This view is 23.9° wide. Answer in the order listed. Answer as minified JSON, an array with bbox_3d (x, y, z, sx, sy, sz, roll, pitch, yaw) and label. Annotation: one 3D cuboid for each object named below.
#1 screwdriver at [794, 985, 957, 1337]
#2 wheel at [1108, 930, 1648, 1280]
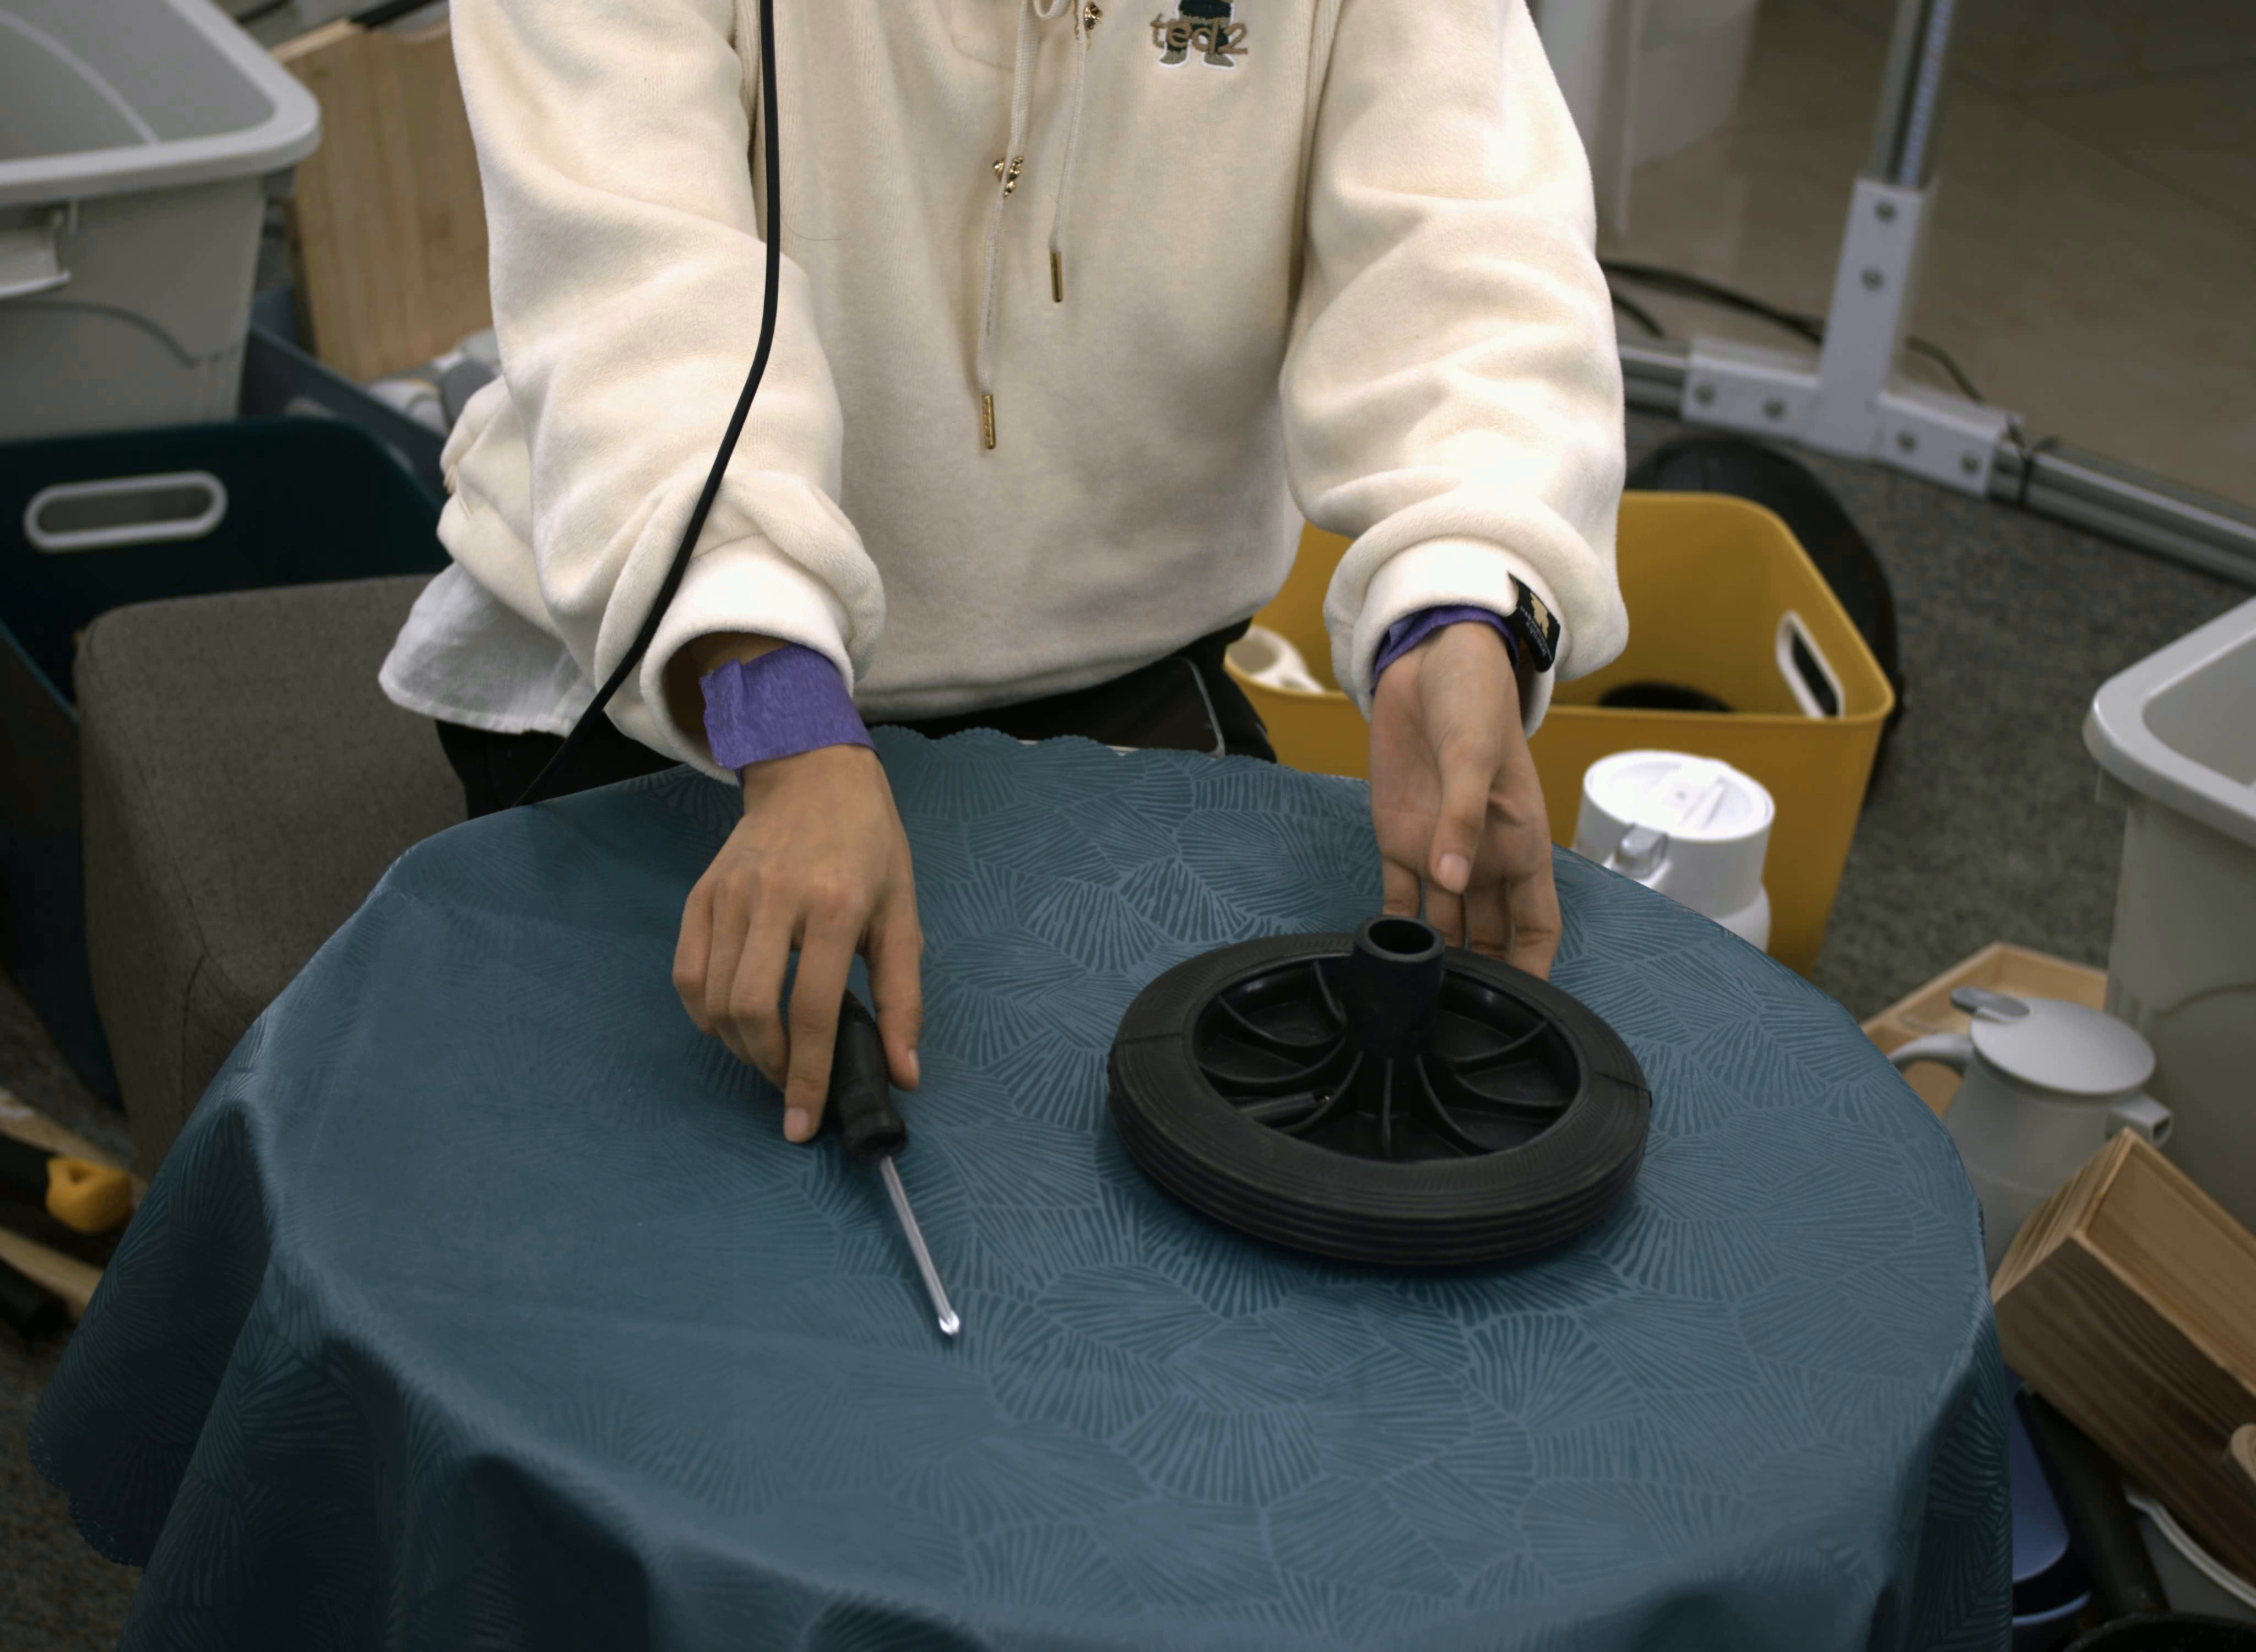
[{"bbox_3d":[-0.078,0.111,1.782,0.031,0.031,0.198,-3,30,-19],"label":"screwdriver"},{"bbox_3d":[0.088,0.078,1.830,0.188,0.079,0.189,24,36,30],"label":"wheel"}]
